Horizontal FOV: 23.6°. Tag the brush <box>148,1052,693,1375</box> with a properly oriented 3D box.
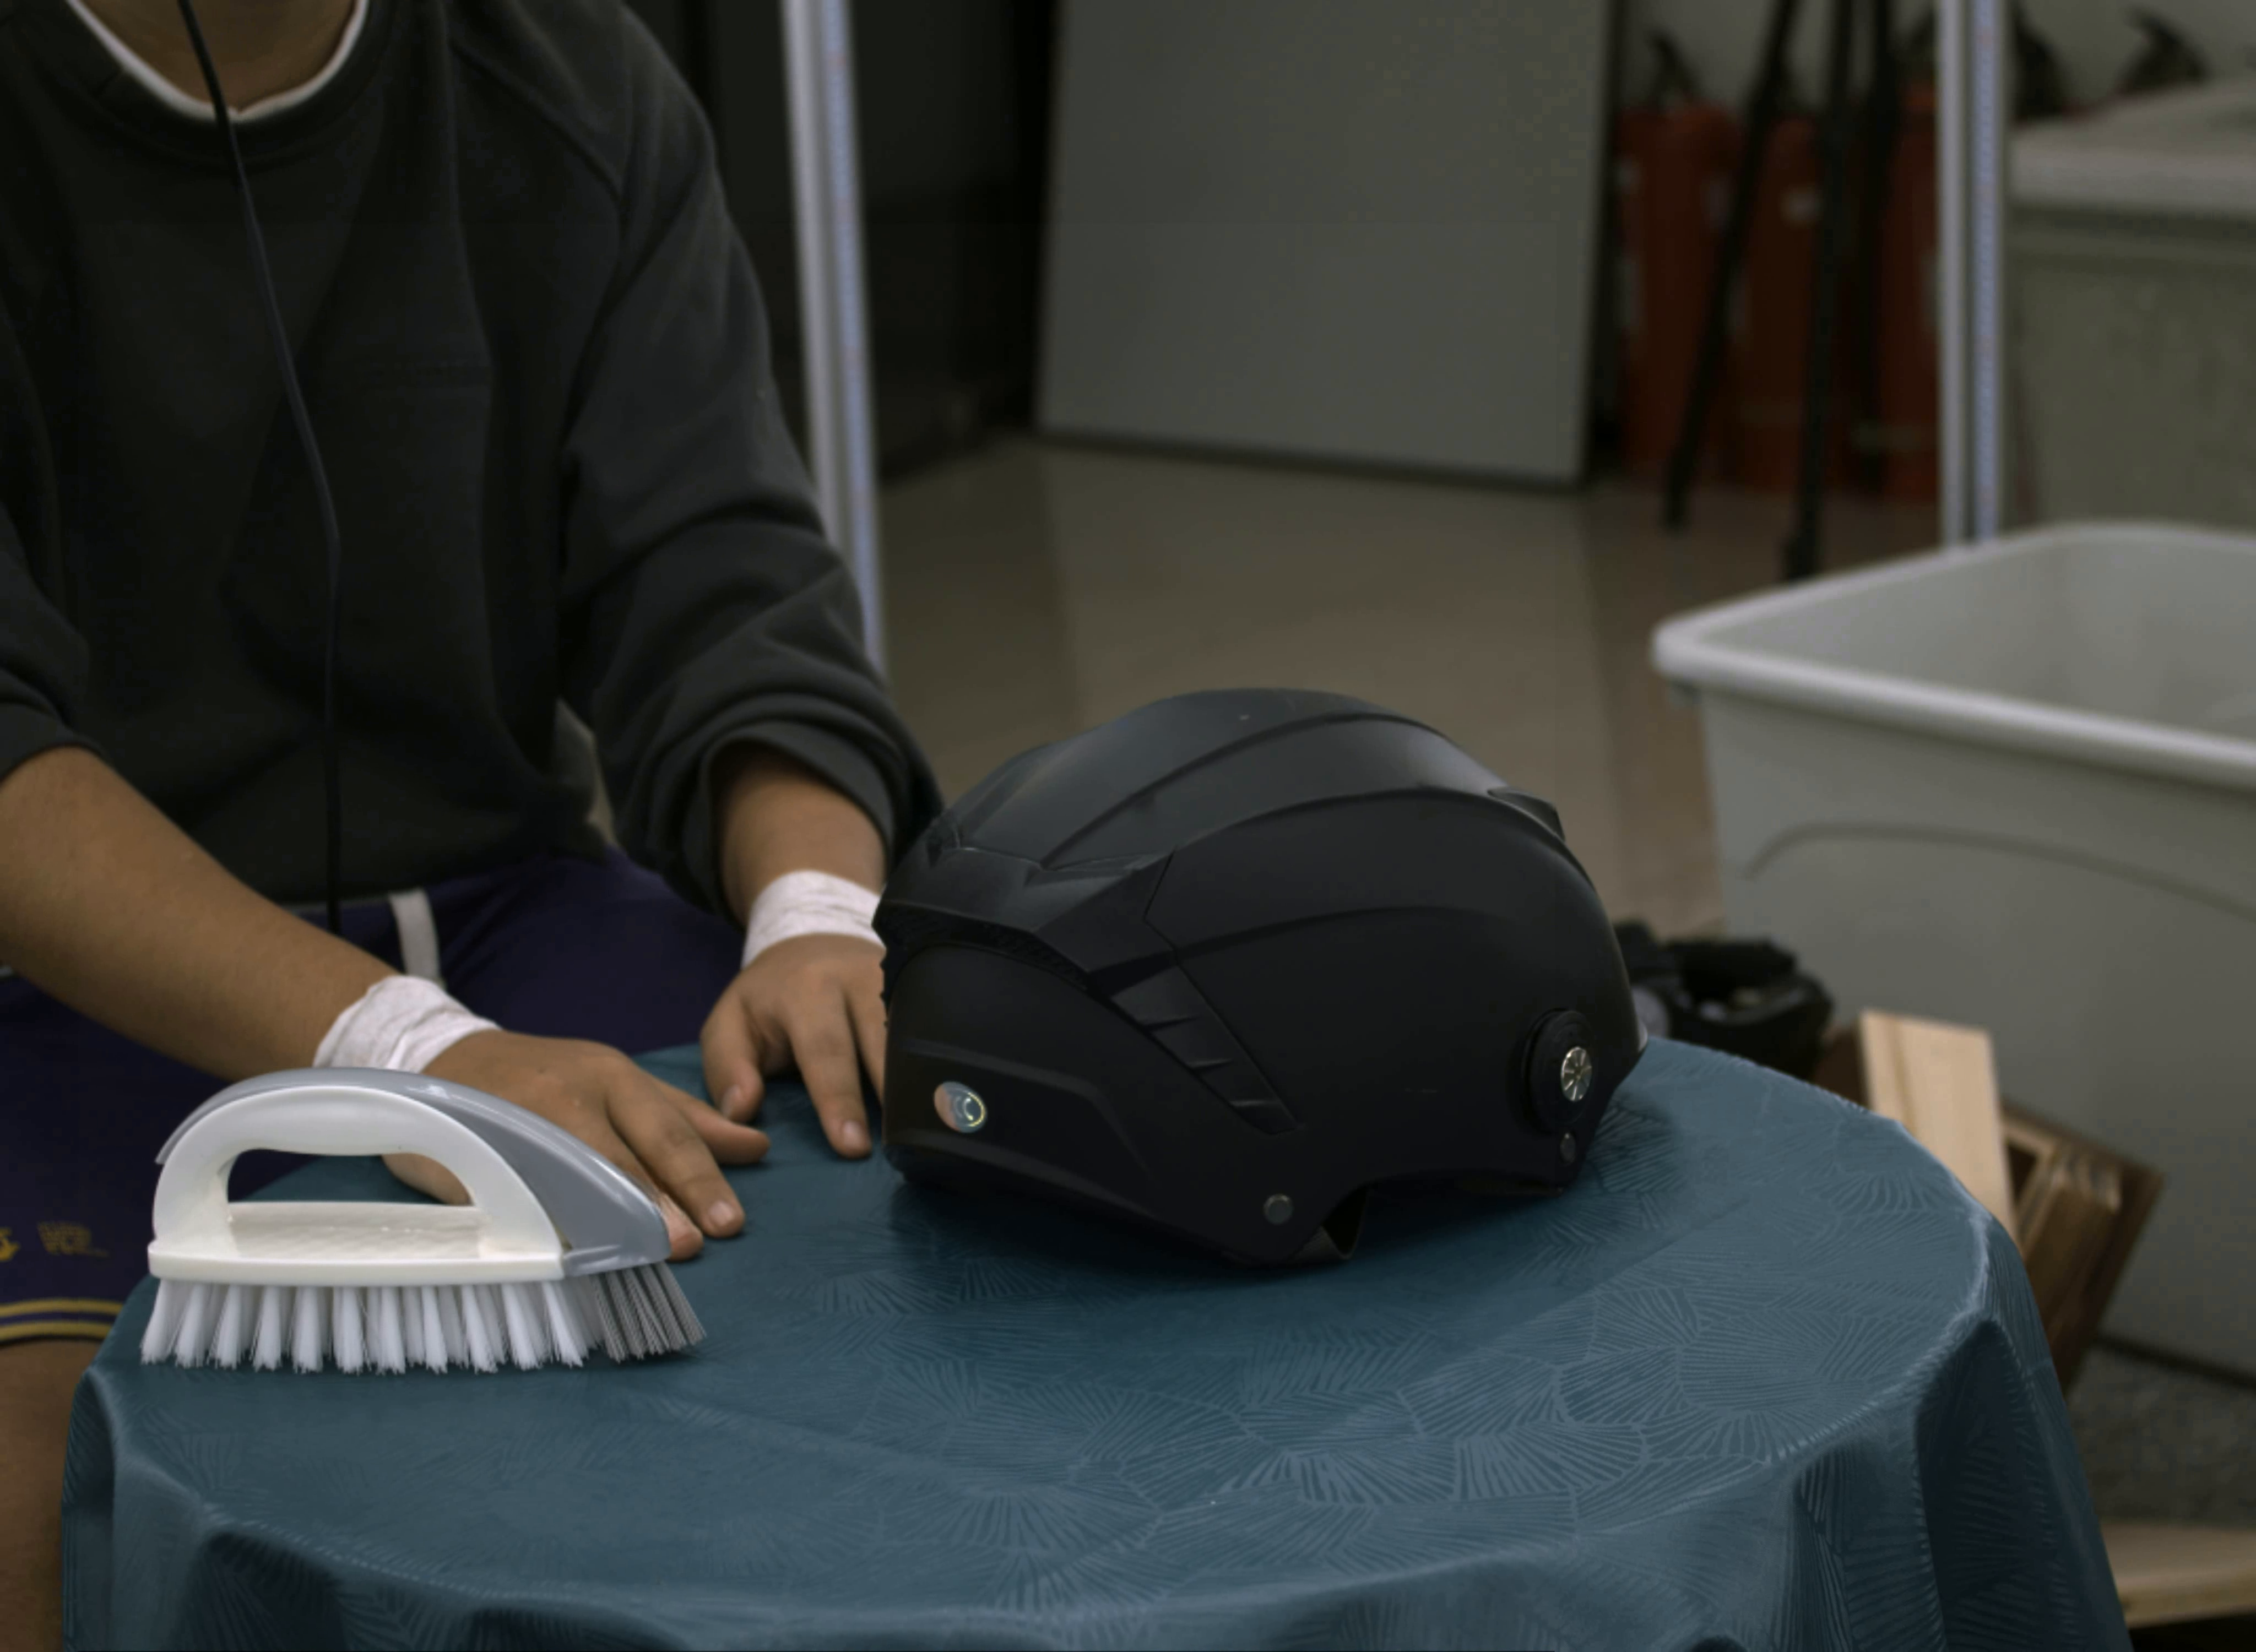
[{"bbox_3d":[-0.217,0.116,1.657,0.175,0.095,0.061,3,18,17],"label":"brush"}]

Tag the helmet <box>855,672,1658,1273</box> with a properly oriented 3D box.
[{"bbox_3d":[0.042,0.037,1.767,0.271,0.174,0.249,-20,21,-39],"label":"helmet"}]
